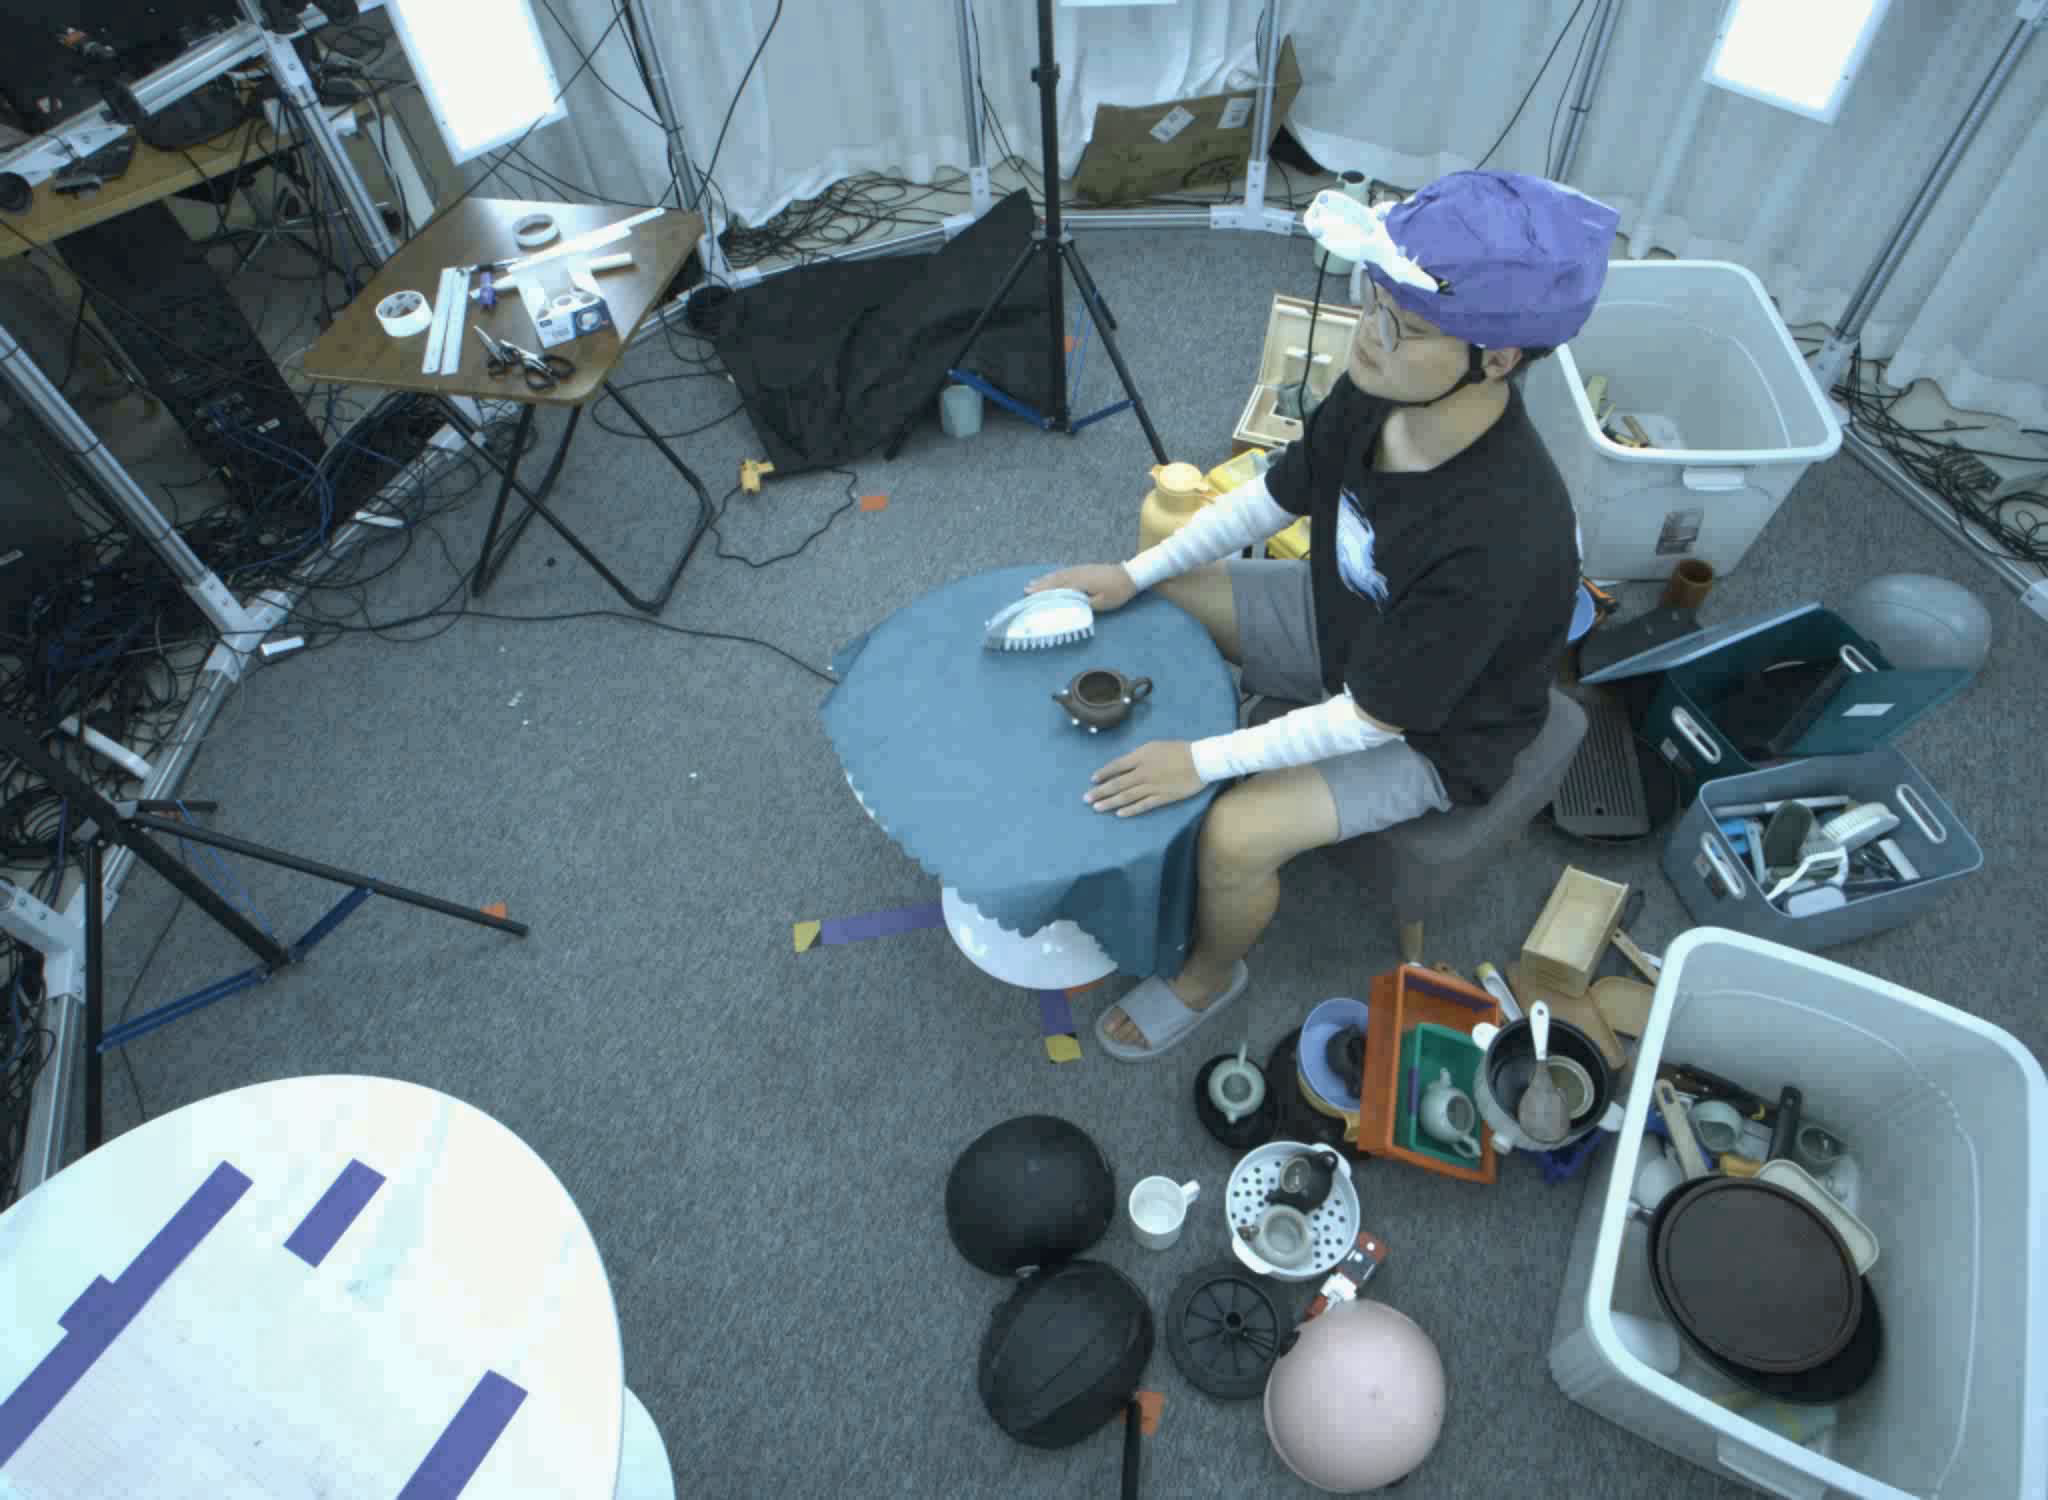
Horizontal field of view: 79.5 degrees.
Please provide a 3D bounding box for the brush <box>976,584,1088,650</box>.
[{"bbox_3d":[0.007,-0.204,1.868,0.176,0.095,0.060,-13,51,-5],"label":"brush"}]

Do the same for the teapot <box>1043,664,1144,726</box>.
[{"bbox_3d":[0.102,-0.083,1.801,0.154,0.054,0.101,-18,57,-10],"label":"teapot"}]
